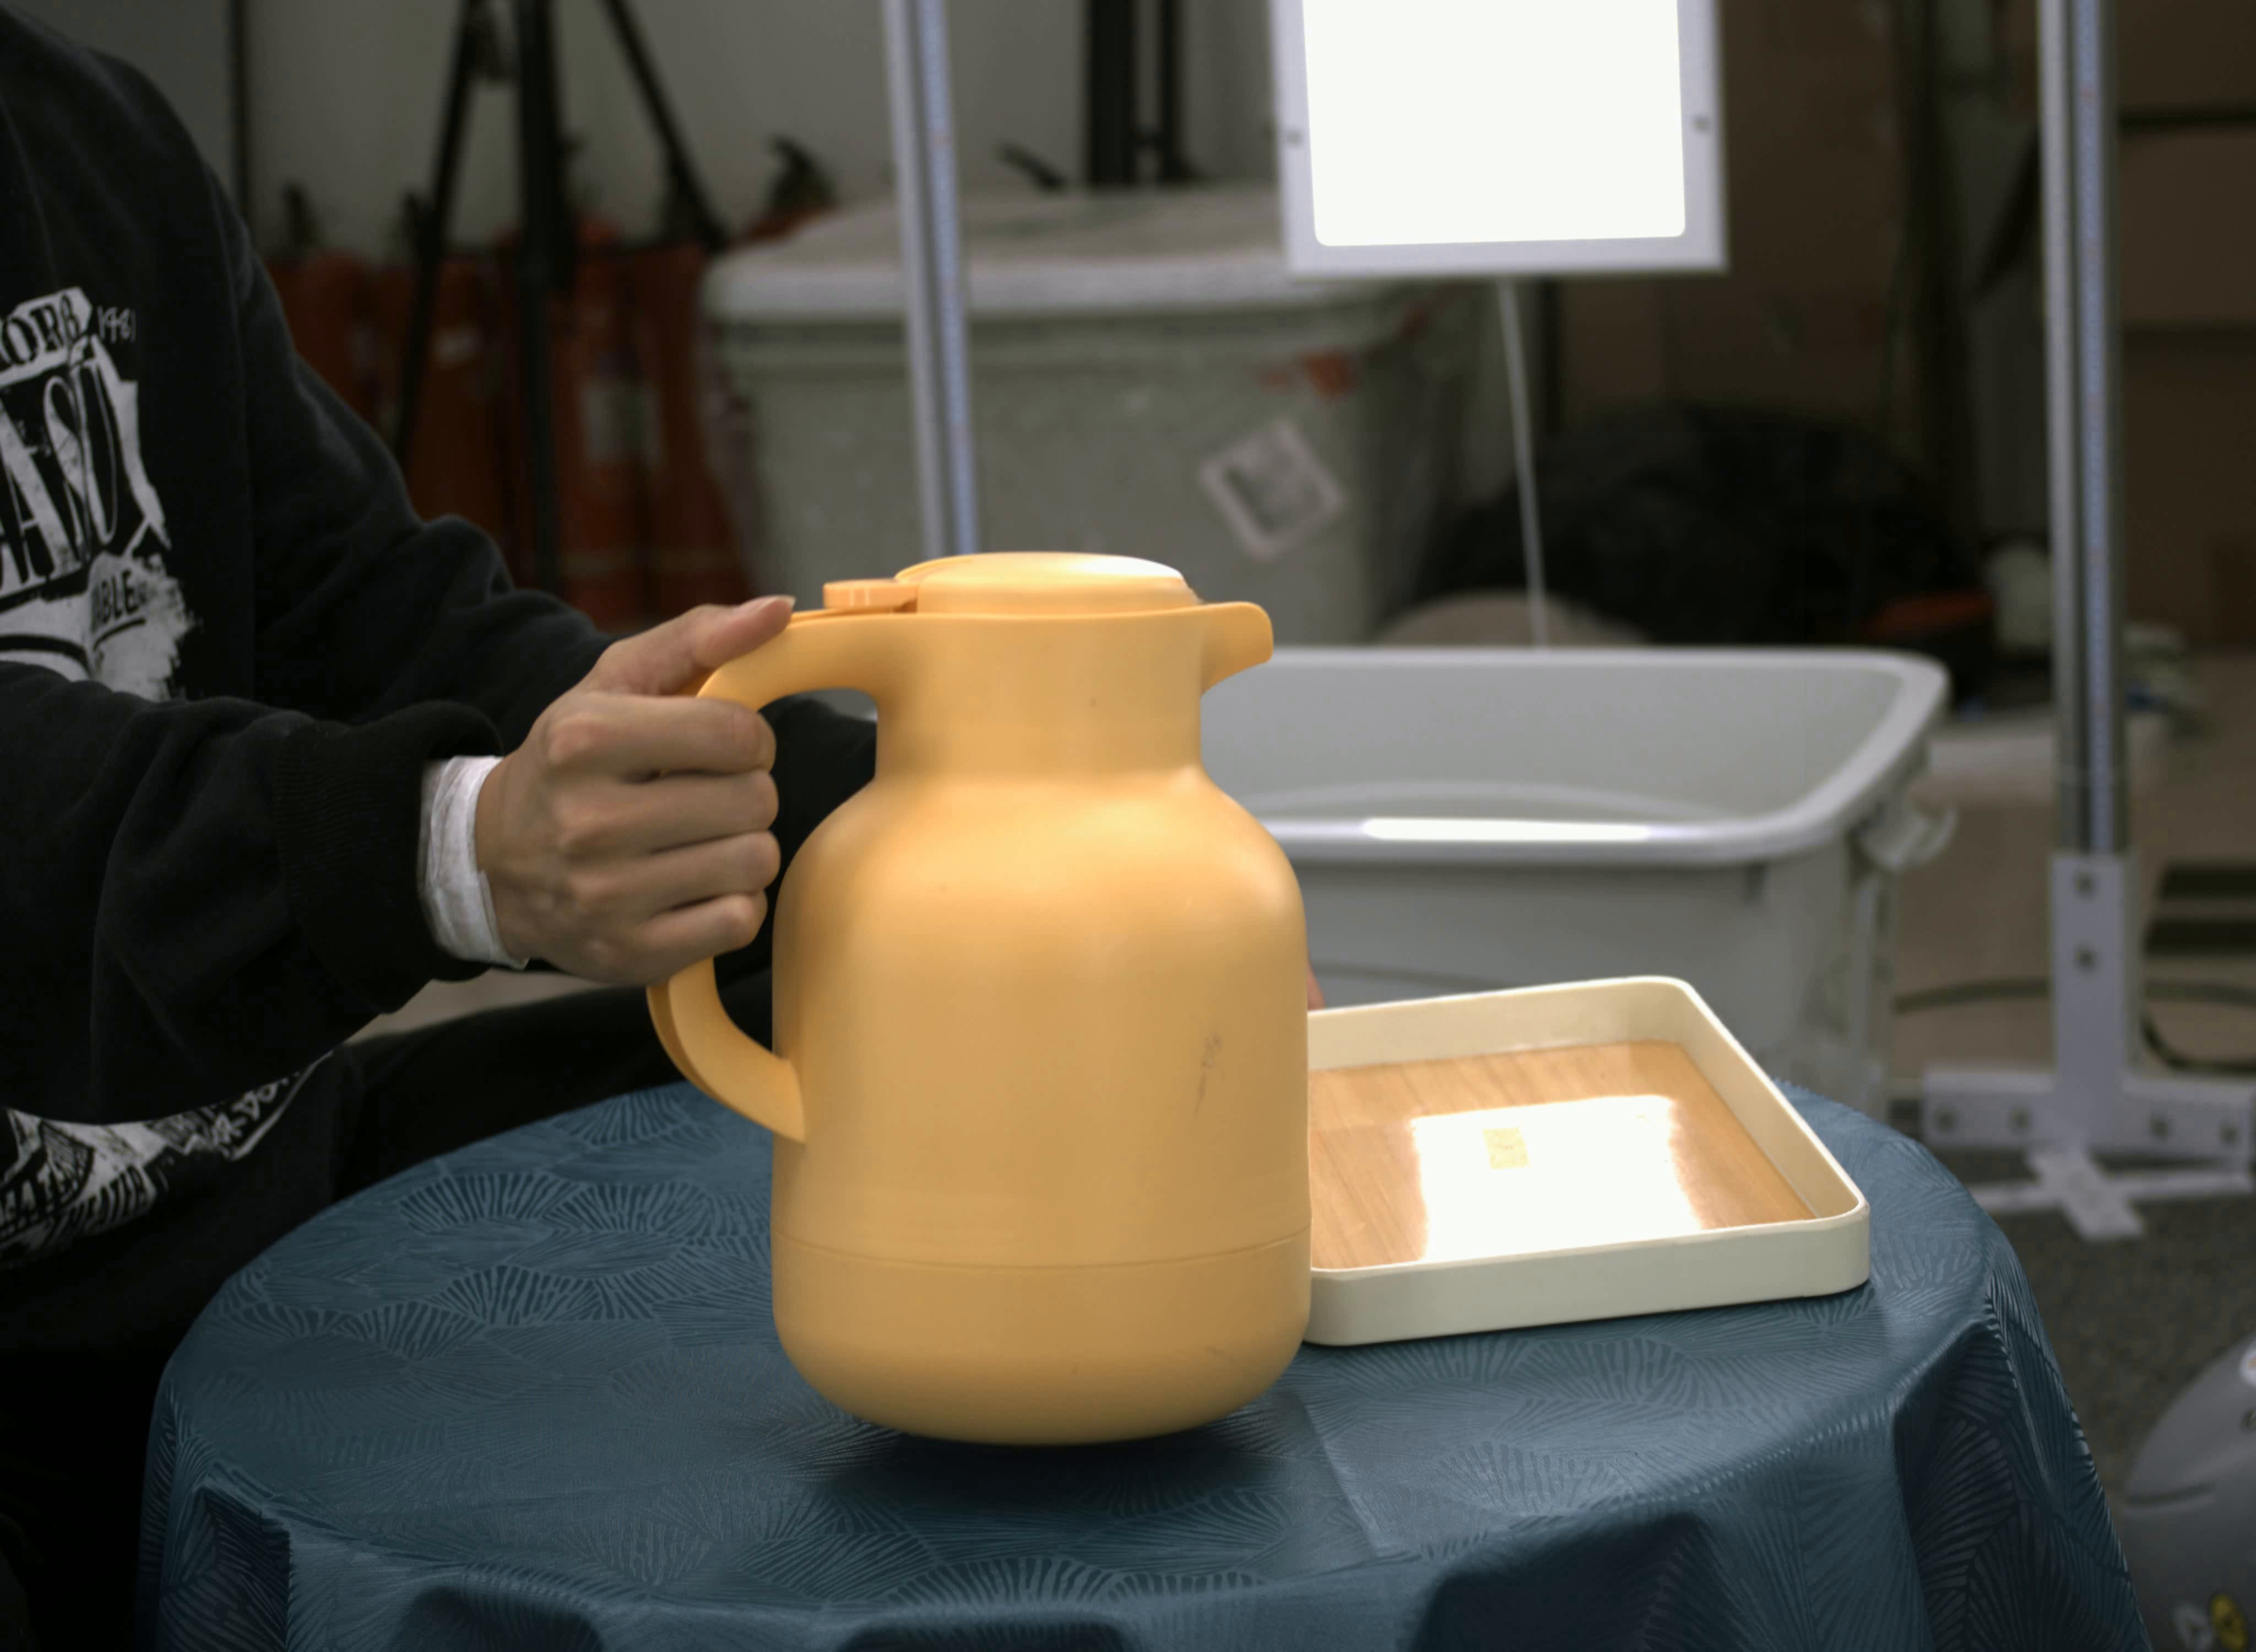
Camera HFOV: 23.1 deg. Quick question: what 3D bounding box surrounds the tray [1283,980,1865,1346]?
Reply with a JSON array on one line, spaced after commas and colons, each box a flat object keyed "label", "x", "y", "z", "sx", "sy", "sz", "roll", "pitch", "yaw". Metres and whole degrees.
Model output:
[{"label": "tray", "x": 0.127, "y": 0.110, "z": 1.864, "sx": 0.190, "sy": 0.027, "sz": 0.301, "roll": -6, "pitch": 14, "yaw": -4}]

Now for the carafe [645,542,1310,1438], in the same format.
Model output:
[{"label": "carafe", "x": -0.044, "y": 0.046, "z": 1.641, "sx": 0.199, "sy": 0.261, "sz": 0.165, "roll": -1, "pitch": 4, "yaw": -18}]
